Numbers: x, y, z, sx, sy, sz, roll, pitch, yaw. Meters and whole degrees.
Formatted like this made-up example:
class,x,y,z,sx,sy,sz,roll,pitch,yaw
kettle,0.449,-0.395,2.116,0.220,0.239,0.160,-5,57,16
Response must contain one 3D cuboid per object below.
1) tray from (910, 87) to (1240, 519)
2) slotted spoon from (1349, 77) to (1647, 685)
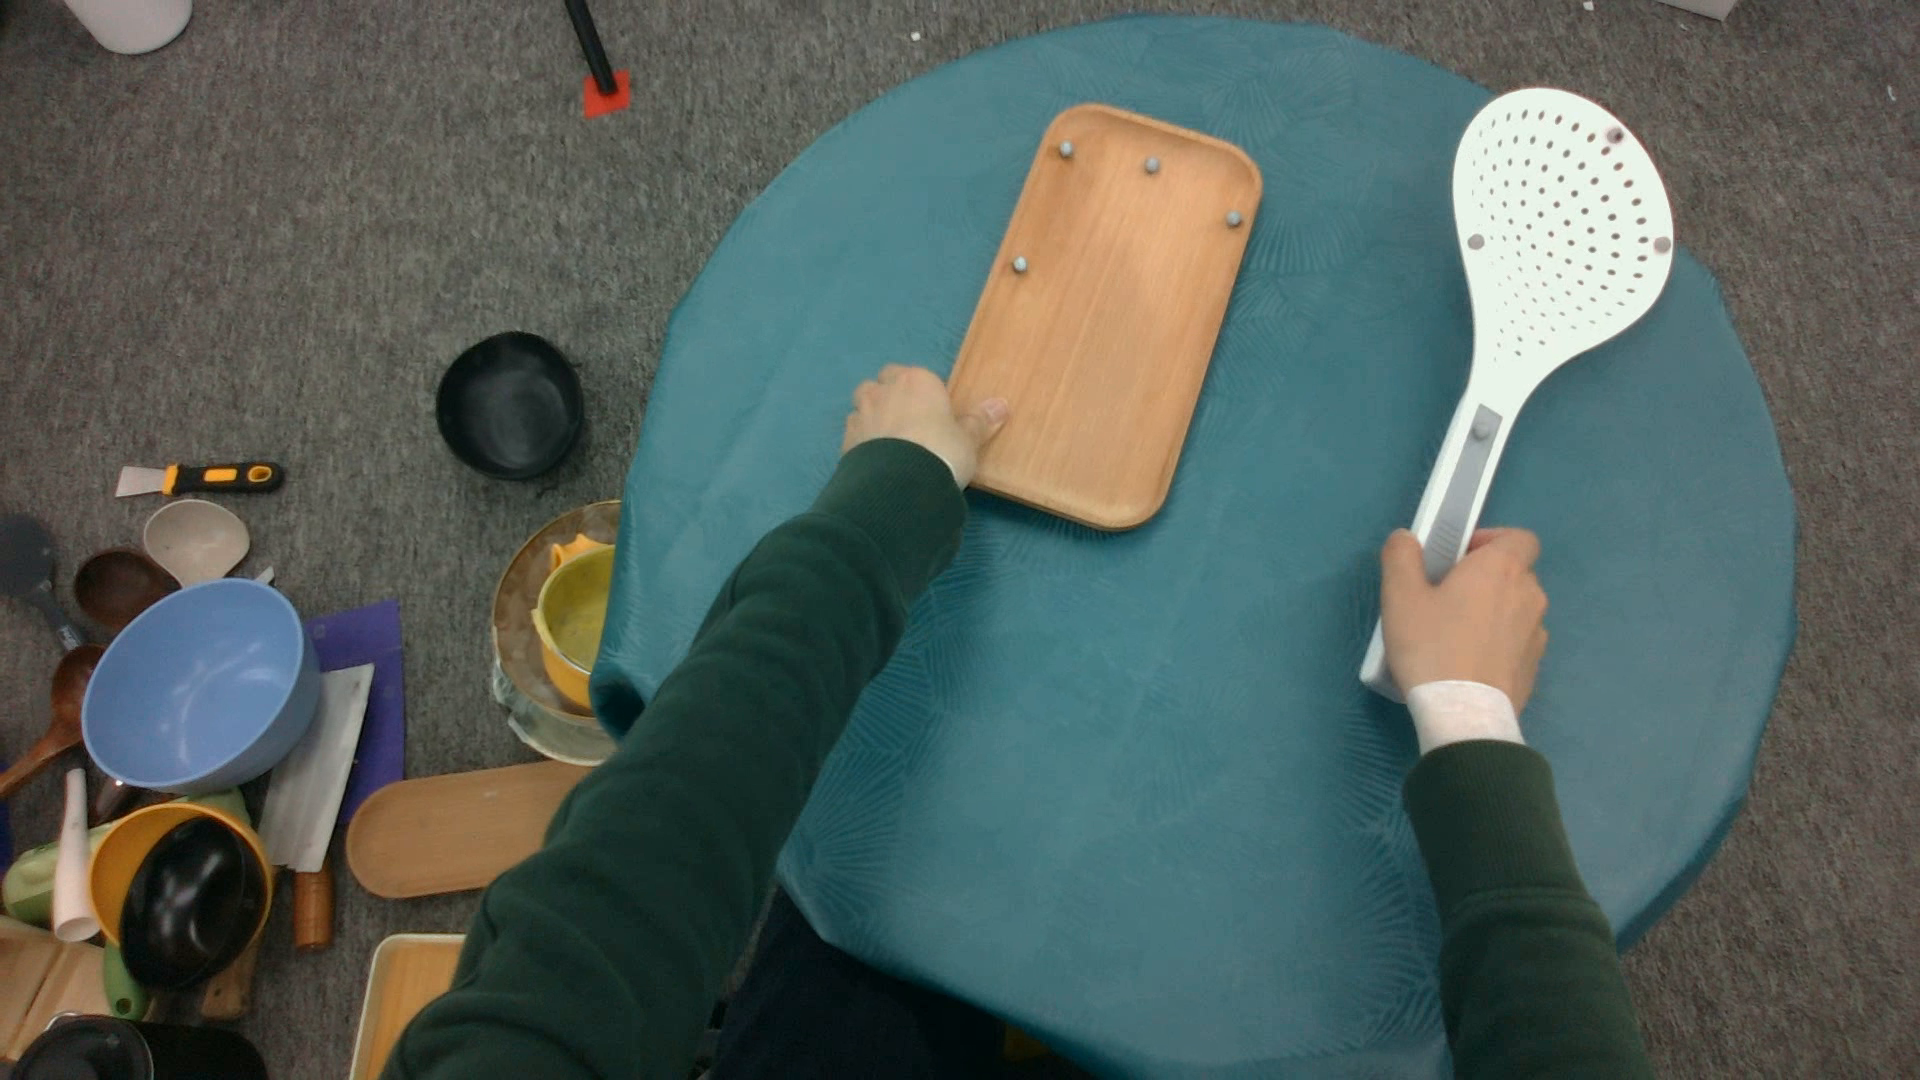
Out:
class,x,y,z,sx,sy,sz,roll,pitch,yaw
tray,0.066,-0.133,0.744,0.130,0.023,0.251,19,69,3
slotted spoon,0.264,-0.087,0.702,0.136,0.045,0.351,28,67,-10
